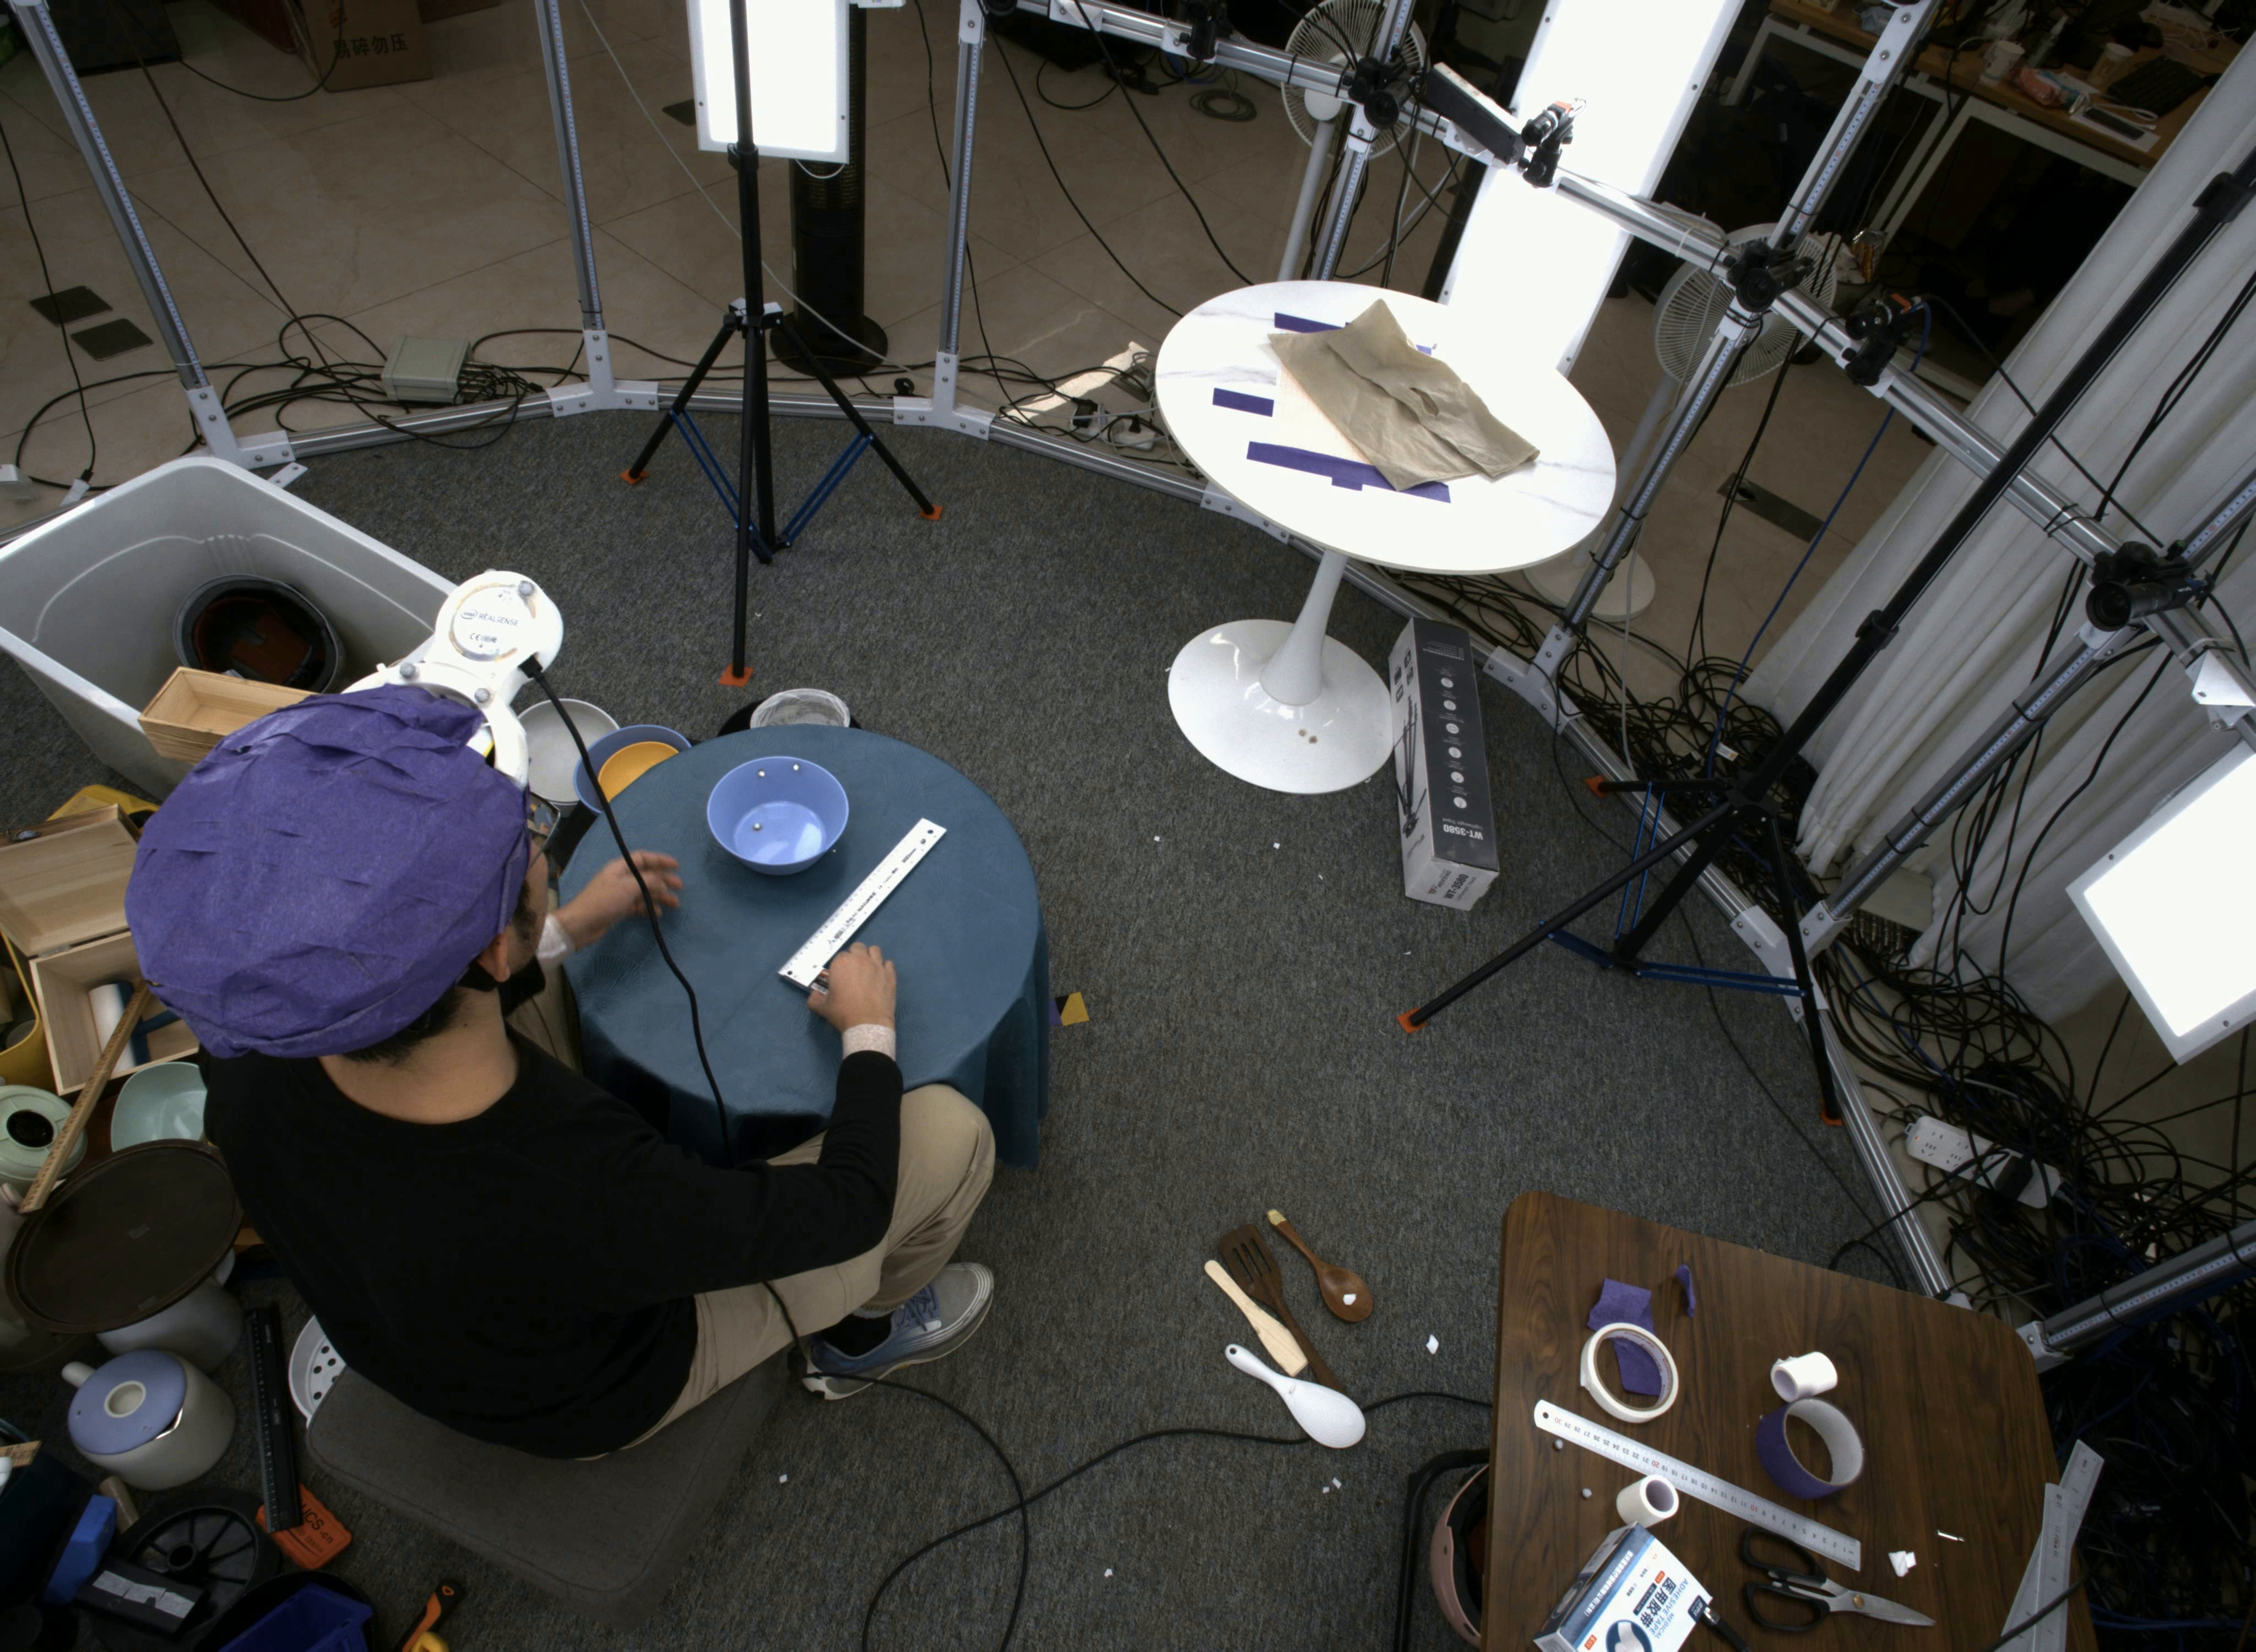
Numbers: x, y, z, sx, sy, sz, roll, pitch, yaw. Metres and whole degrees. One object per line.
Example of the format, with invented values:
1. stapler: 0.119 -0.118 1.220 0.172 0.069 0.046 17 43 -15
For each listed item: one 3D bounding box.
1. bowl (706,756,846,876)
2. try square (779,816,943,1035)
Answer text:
1. bowl: -0.452 -0.003 1.669 0.176 0.071 0.173 8 52 -9
2. try square: -0.290 0.116 1.657 0.149 0.016 0.311 28 50 10
